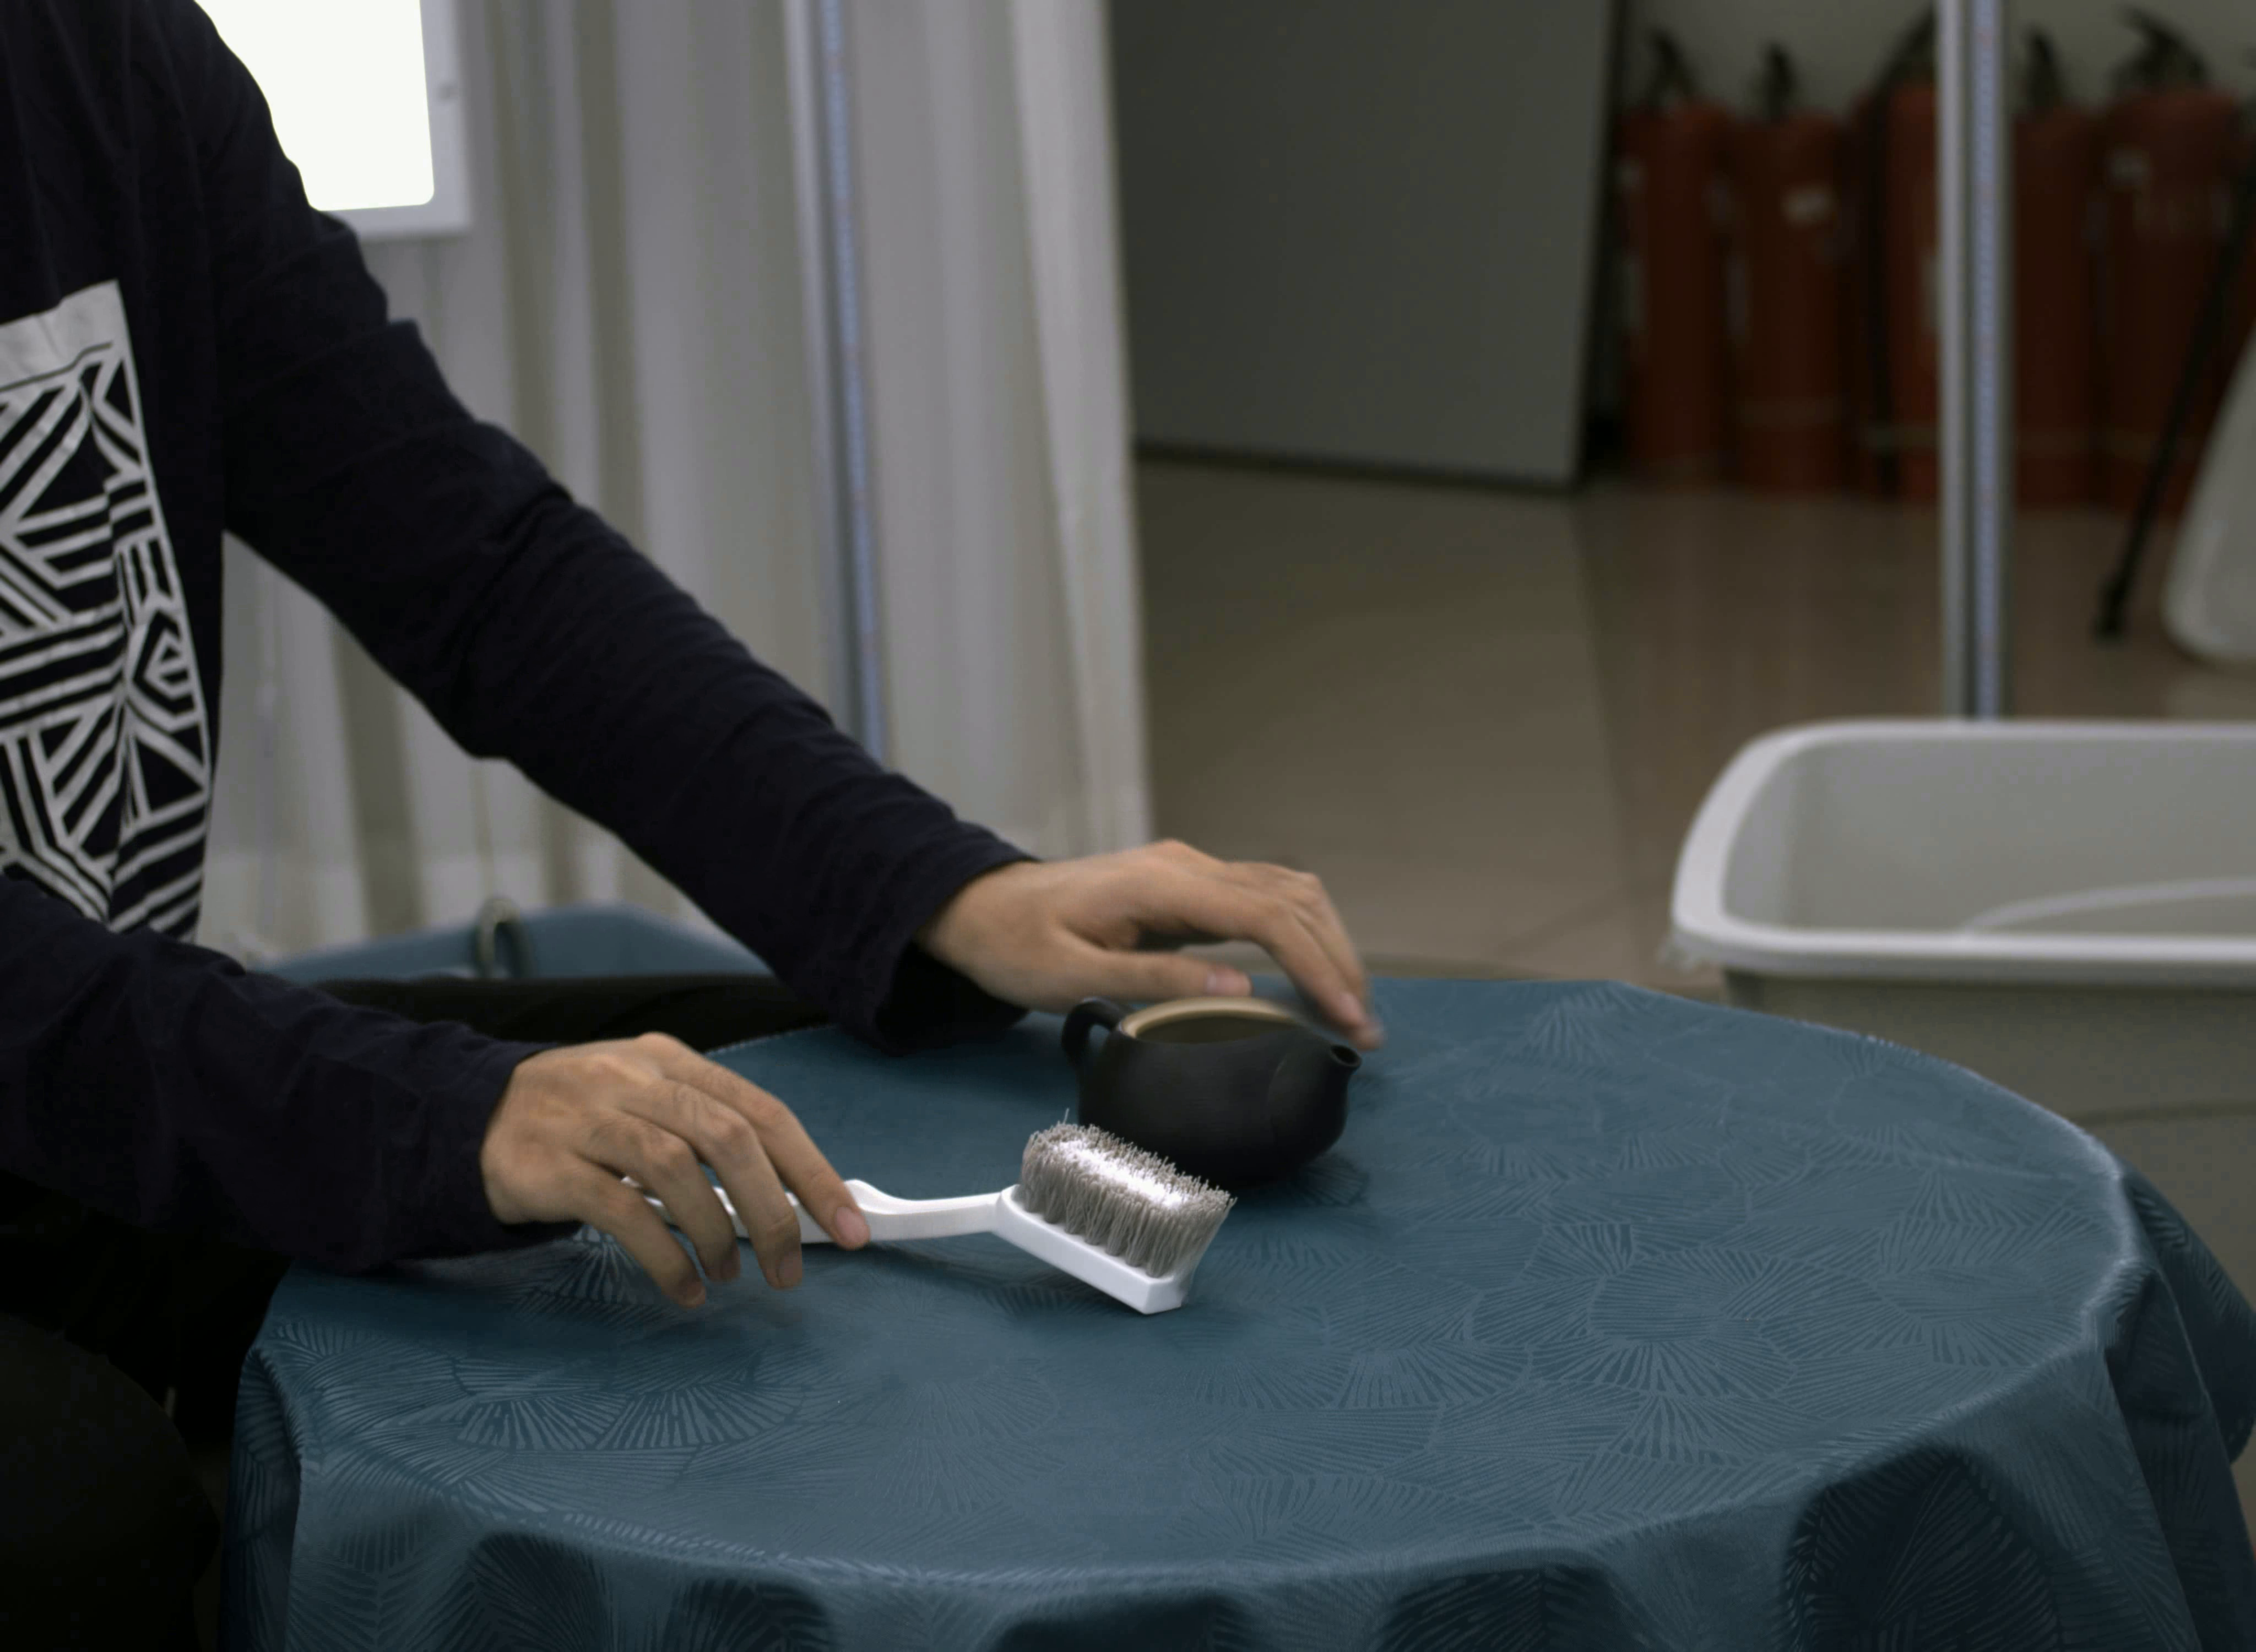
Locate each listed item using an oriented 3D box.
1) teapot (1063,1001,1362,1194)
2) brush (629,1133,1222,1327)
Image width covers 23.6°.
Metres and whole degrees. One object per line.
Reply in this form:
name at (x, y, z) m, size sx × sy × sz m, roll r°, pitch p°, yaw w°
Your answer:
teapot at (0.028, 0.090, 1.784) m, size 0.134 × 0.053 × 0.089 m, roll 9°, pitch 15°, yaw 44°
brush at (-0.071, 0.115, 1.722) m, size 0.245 × 0.051 × 0.034 m, roll 8°, pitch 23°, yaw 40°
